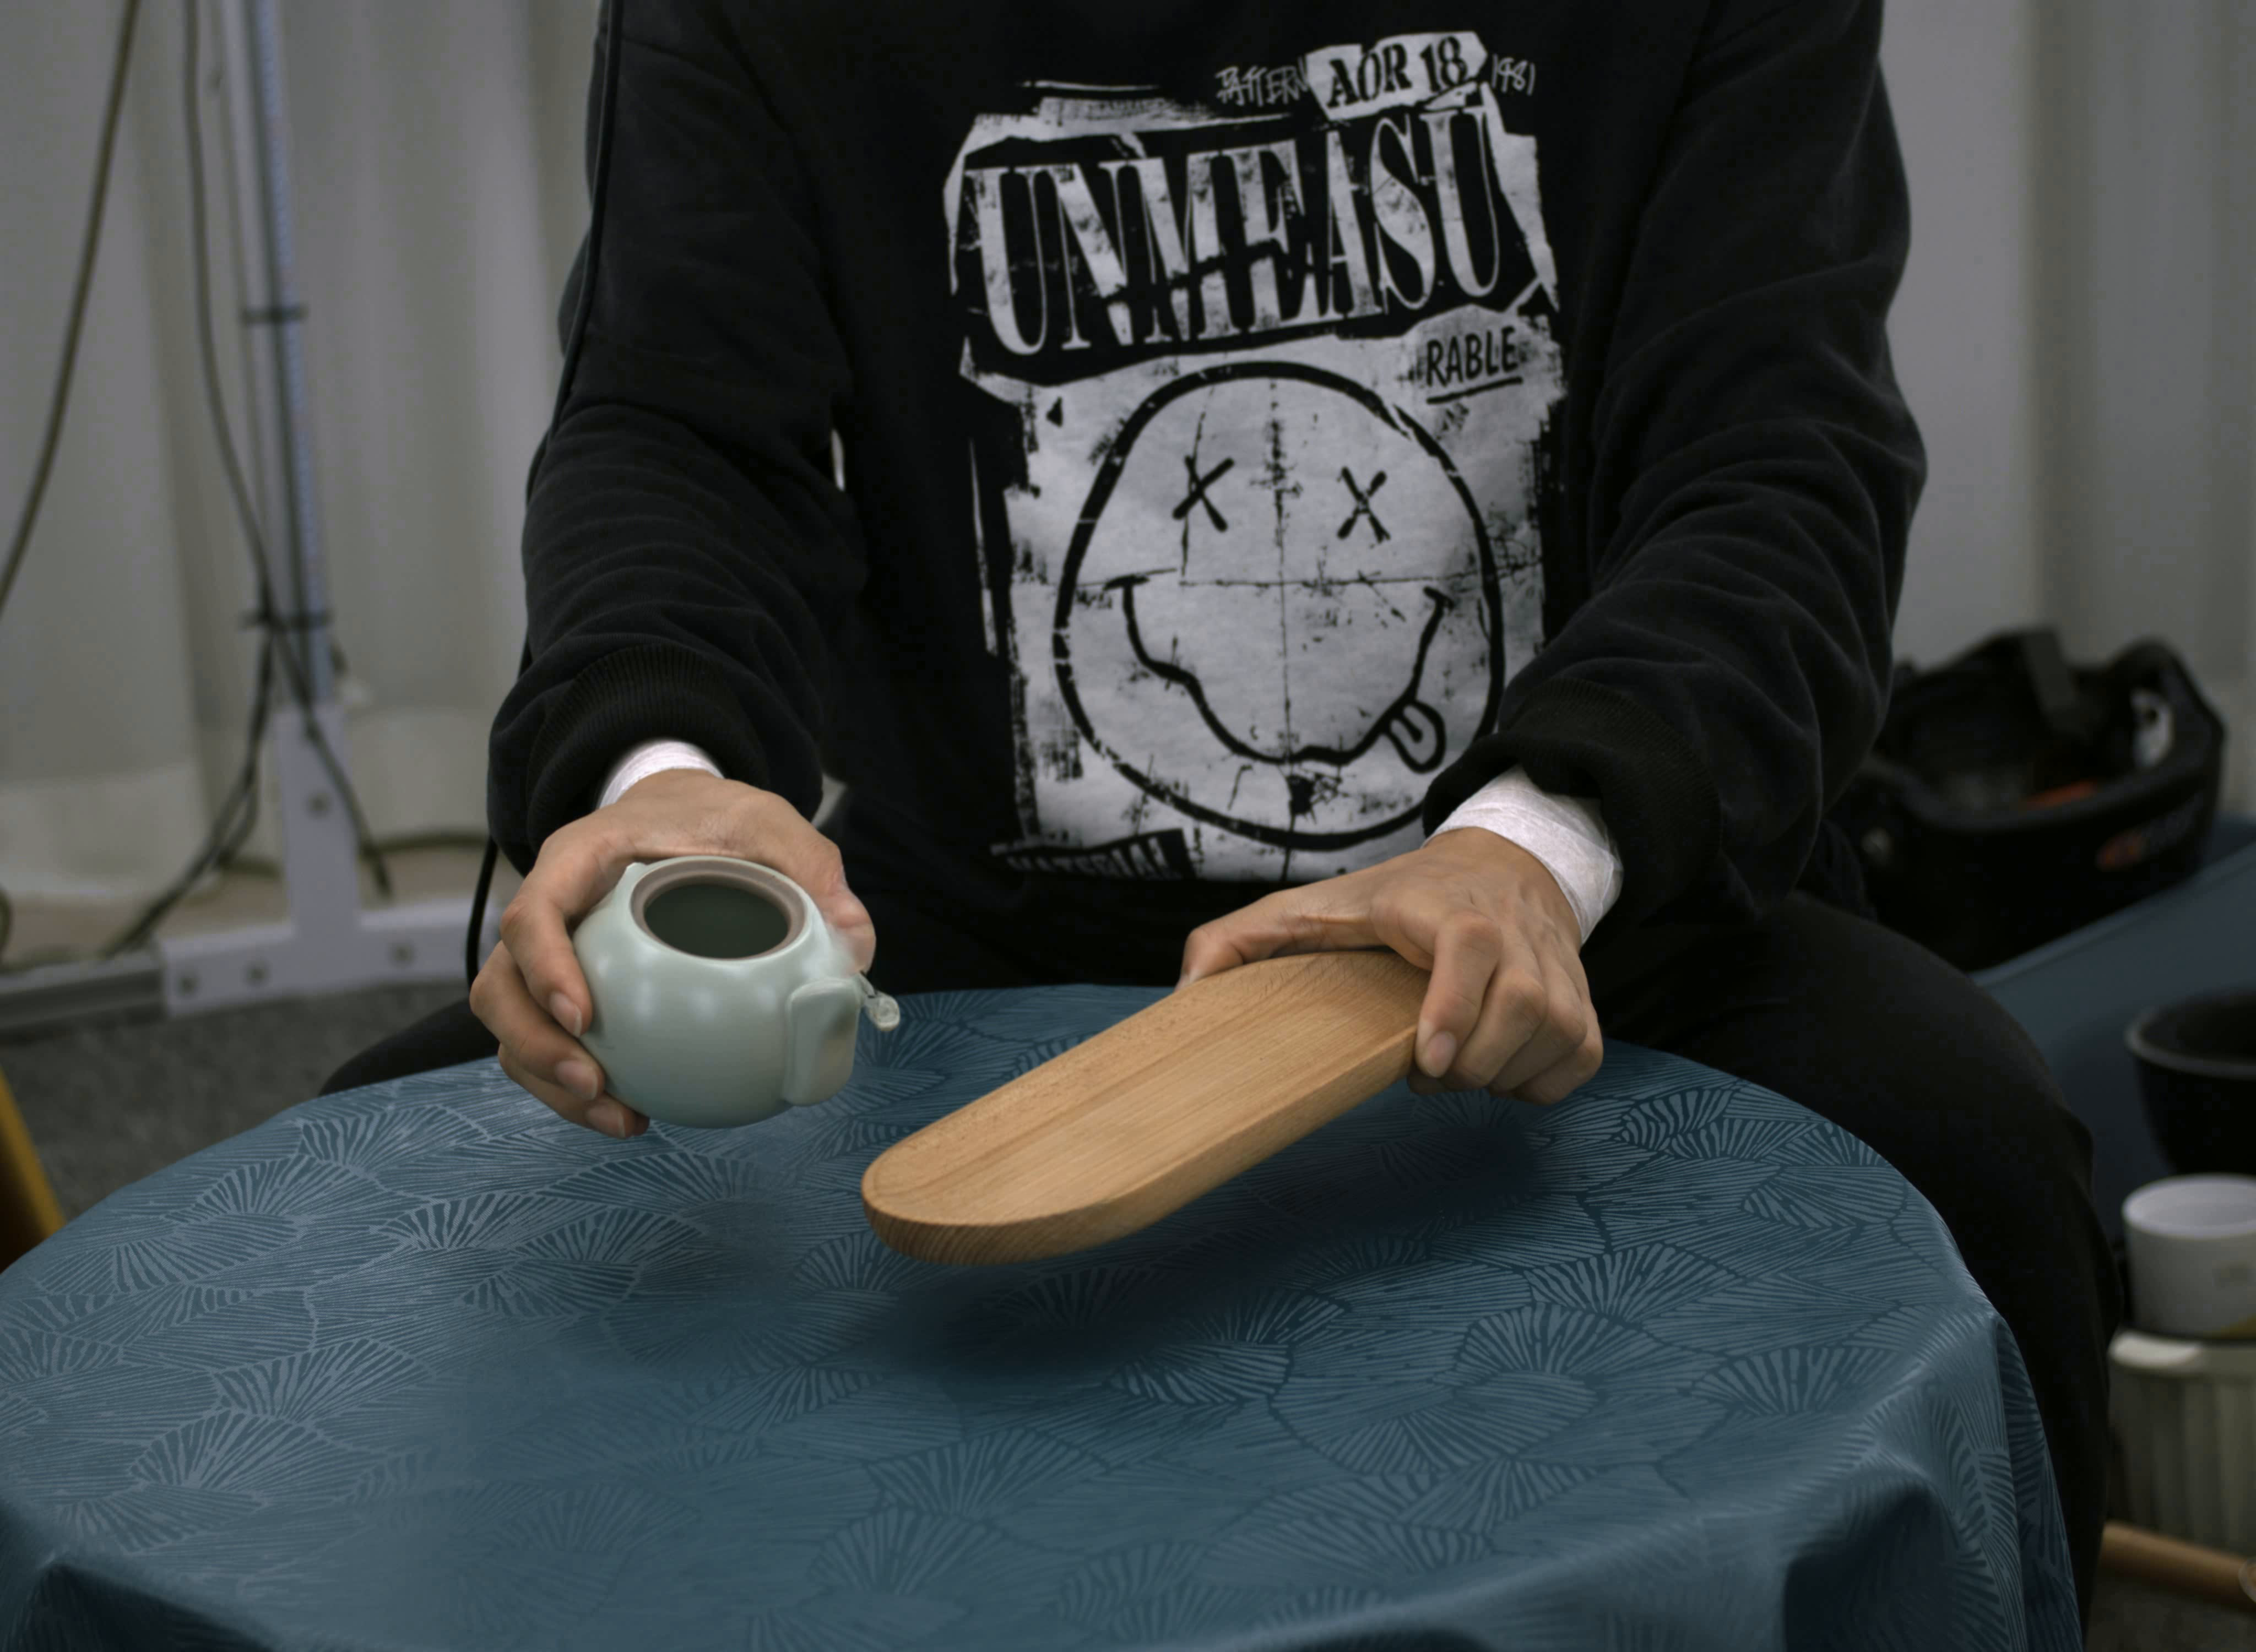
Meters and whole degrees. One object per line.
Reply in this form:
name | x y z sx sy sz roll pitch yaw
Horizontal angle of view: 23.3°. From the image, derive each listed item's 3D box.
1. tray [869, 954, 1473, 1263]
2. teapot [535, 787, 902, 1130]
tray | 0.016 0.082 1.638 0.102 0.020 0.231 7 21 39
teapot | -0.126 0.049 1.641 0.145 0.074 0.088 33 37 31
